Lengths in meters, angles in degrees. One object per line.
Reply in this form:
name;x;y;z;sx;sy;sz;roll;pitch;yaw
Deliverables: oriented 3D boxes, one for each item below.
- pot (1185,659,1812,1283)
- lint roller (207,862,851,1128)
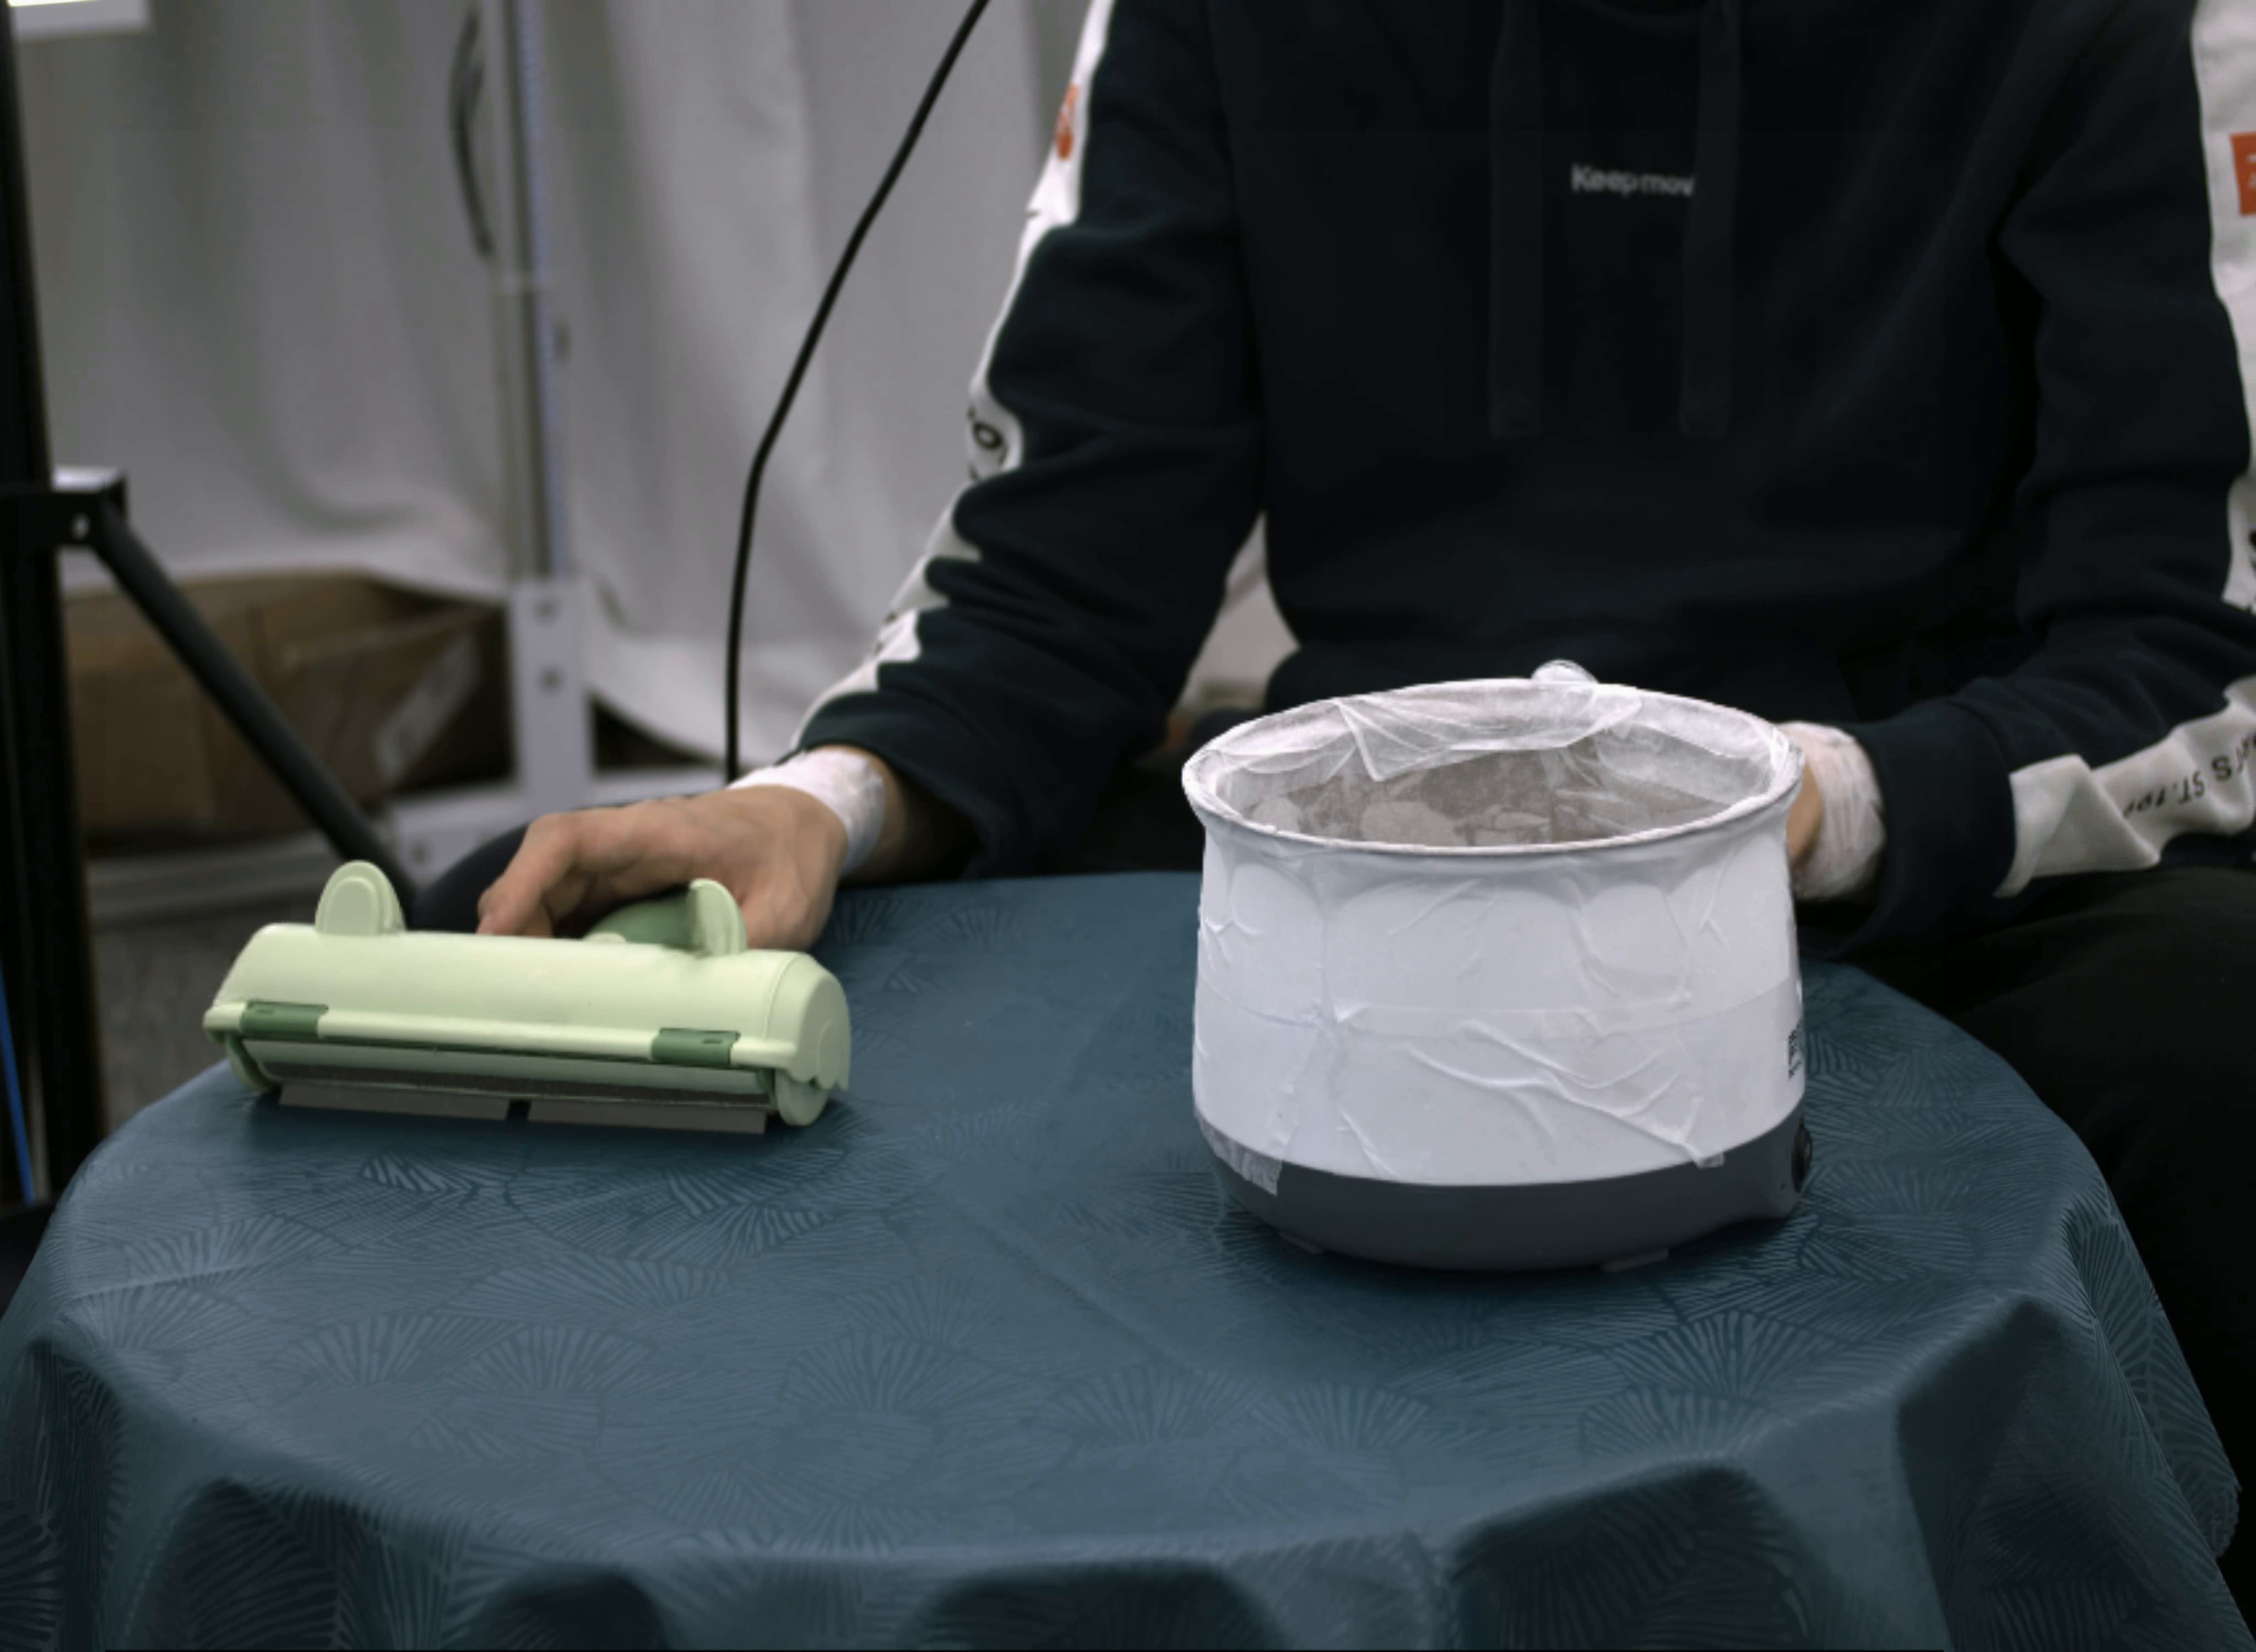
pot;0.114;0.036;1.541;0.180;0.136;0.232;2;17;16
lint roller;-0.170;0.036;1.704;0.200;0.082;0.182;2;22;18
